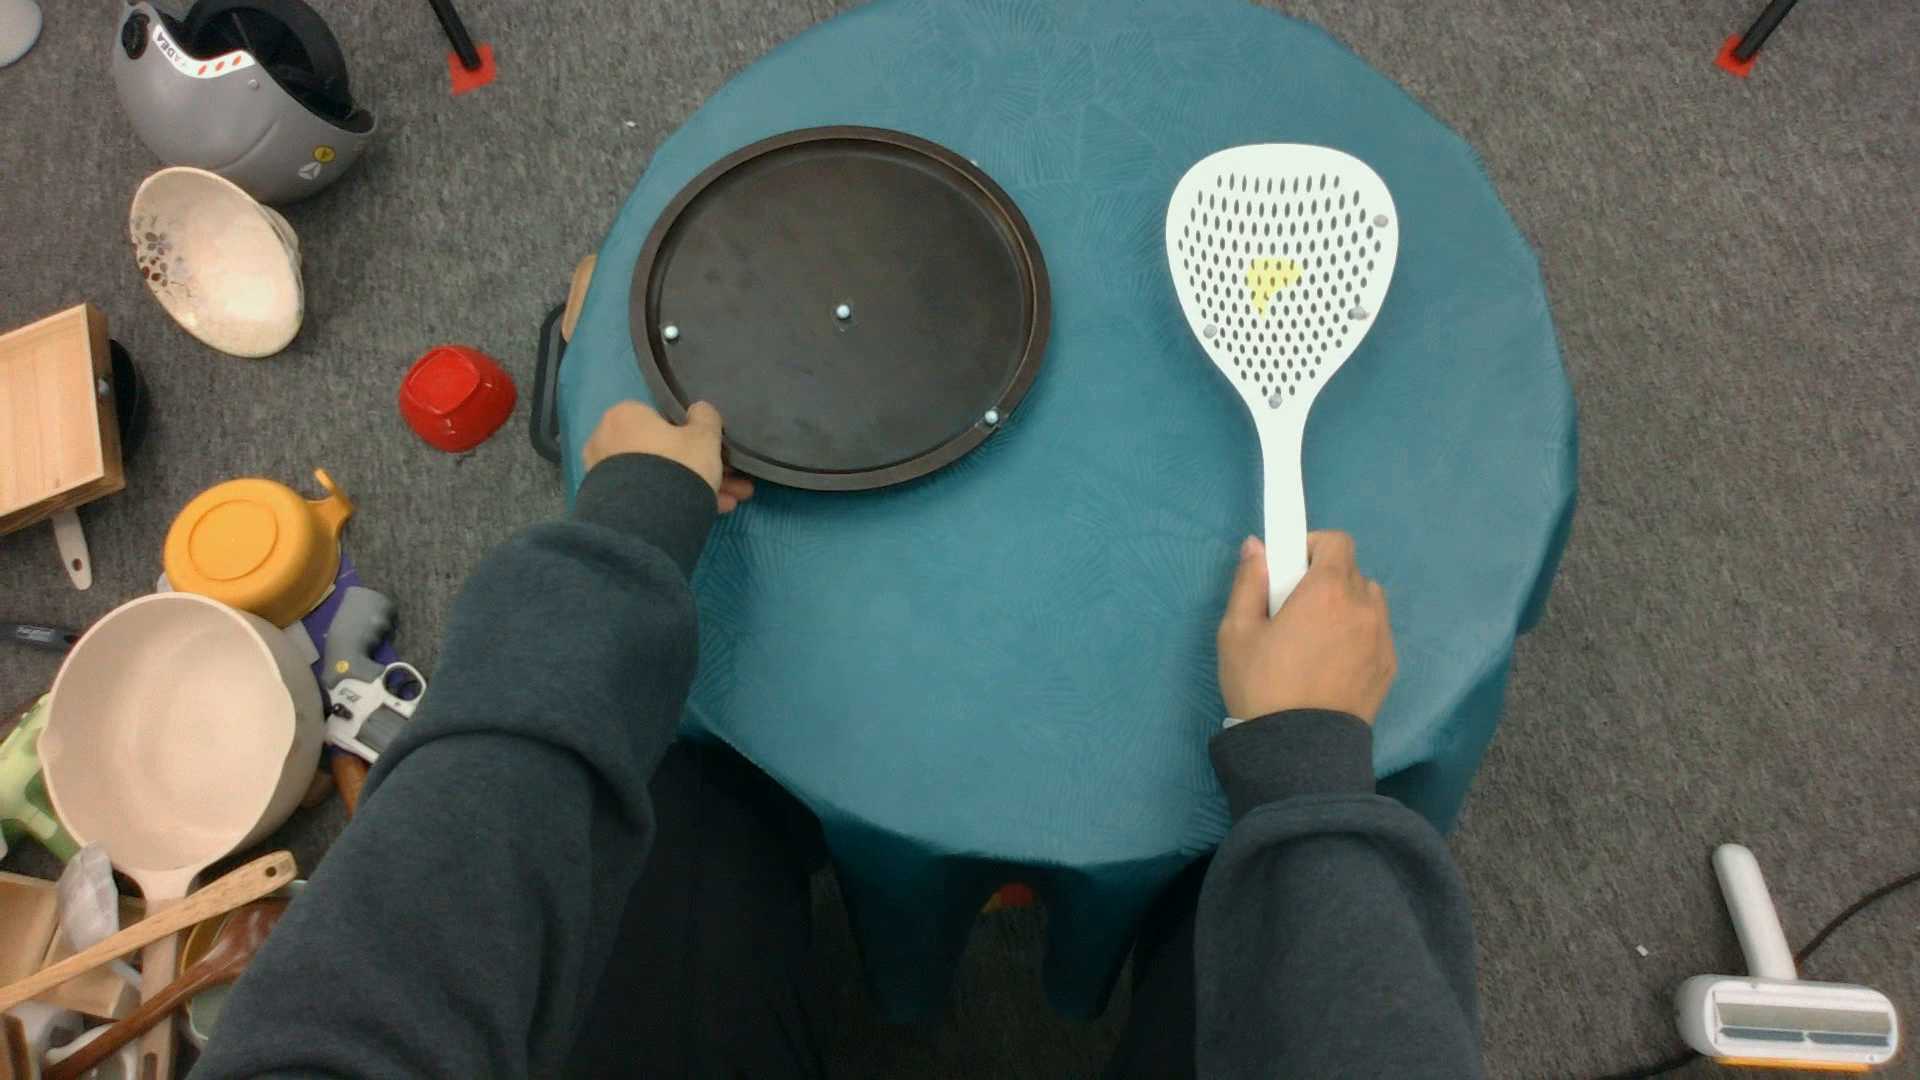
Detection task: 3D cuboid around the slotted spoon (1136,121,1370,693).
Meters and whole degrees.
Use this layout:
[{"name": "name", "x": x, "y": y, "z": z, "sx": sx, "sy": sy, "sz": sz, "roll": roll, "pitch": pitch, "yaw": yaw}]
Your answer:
[{"name": "slotted spoon", "x": 0.175, "y": -0.086, "z": 0.792, "sx": 0.137, "sy": 0.050, "sz": 0.349, "roll": -2, "pitch": 67, "yaw": 7}]

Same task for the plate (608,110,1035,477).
[{"name": "plate", "x": -0.082, "y": -0.151, "z": 0.826, "sx": 0.255, "sy": 0.029, "sz": 0.255, "roll": 1, "pitch": 68, "yaw": -3}]
